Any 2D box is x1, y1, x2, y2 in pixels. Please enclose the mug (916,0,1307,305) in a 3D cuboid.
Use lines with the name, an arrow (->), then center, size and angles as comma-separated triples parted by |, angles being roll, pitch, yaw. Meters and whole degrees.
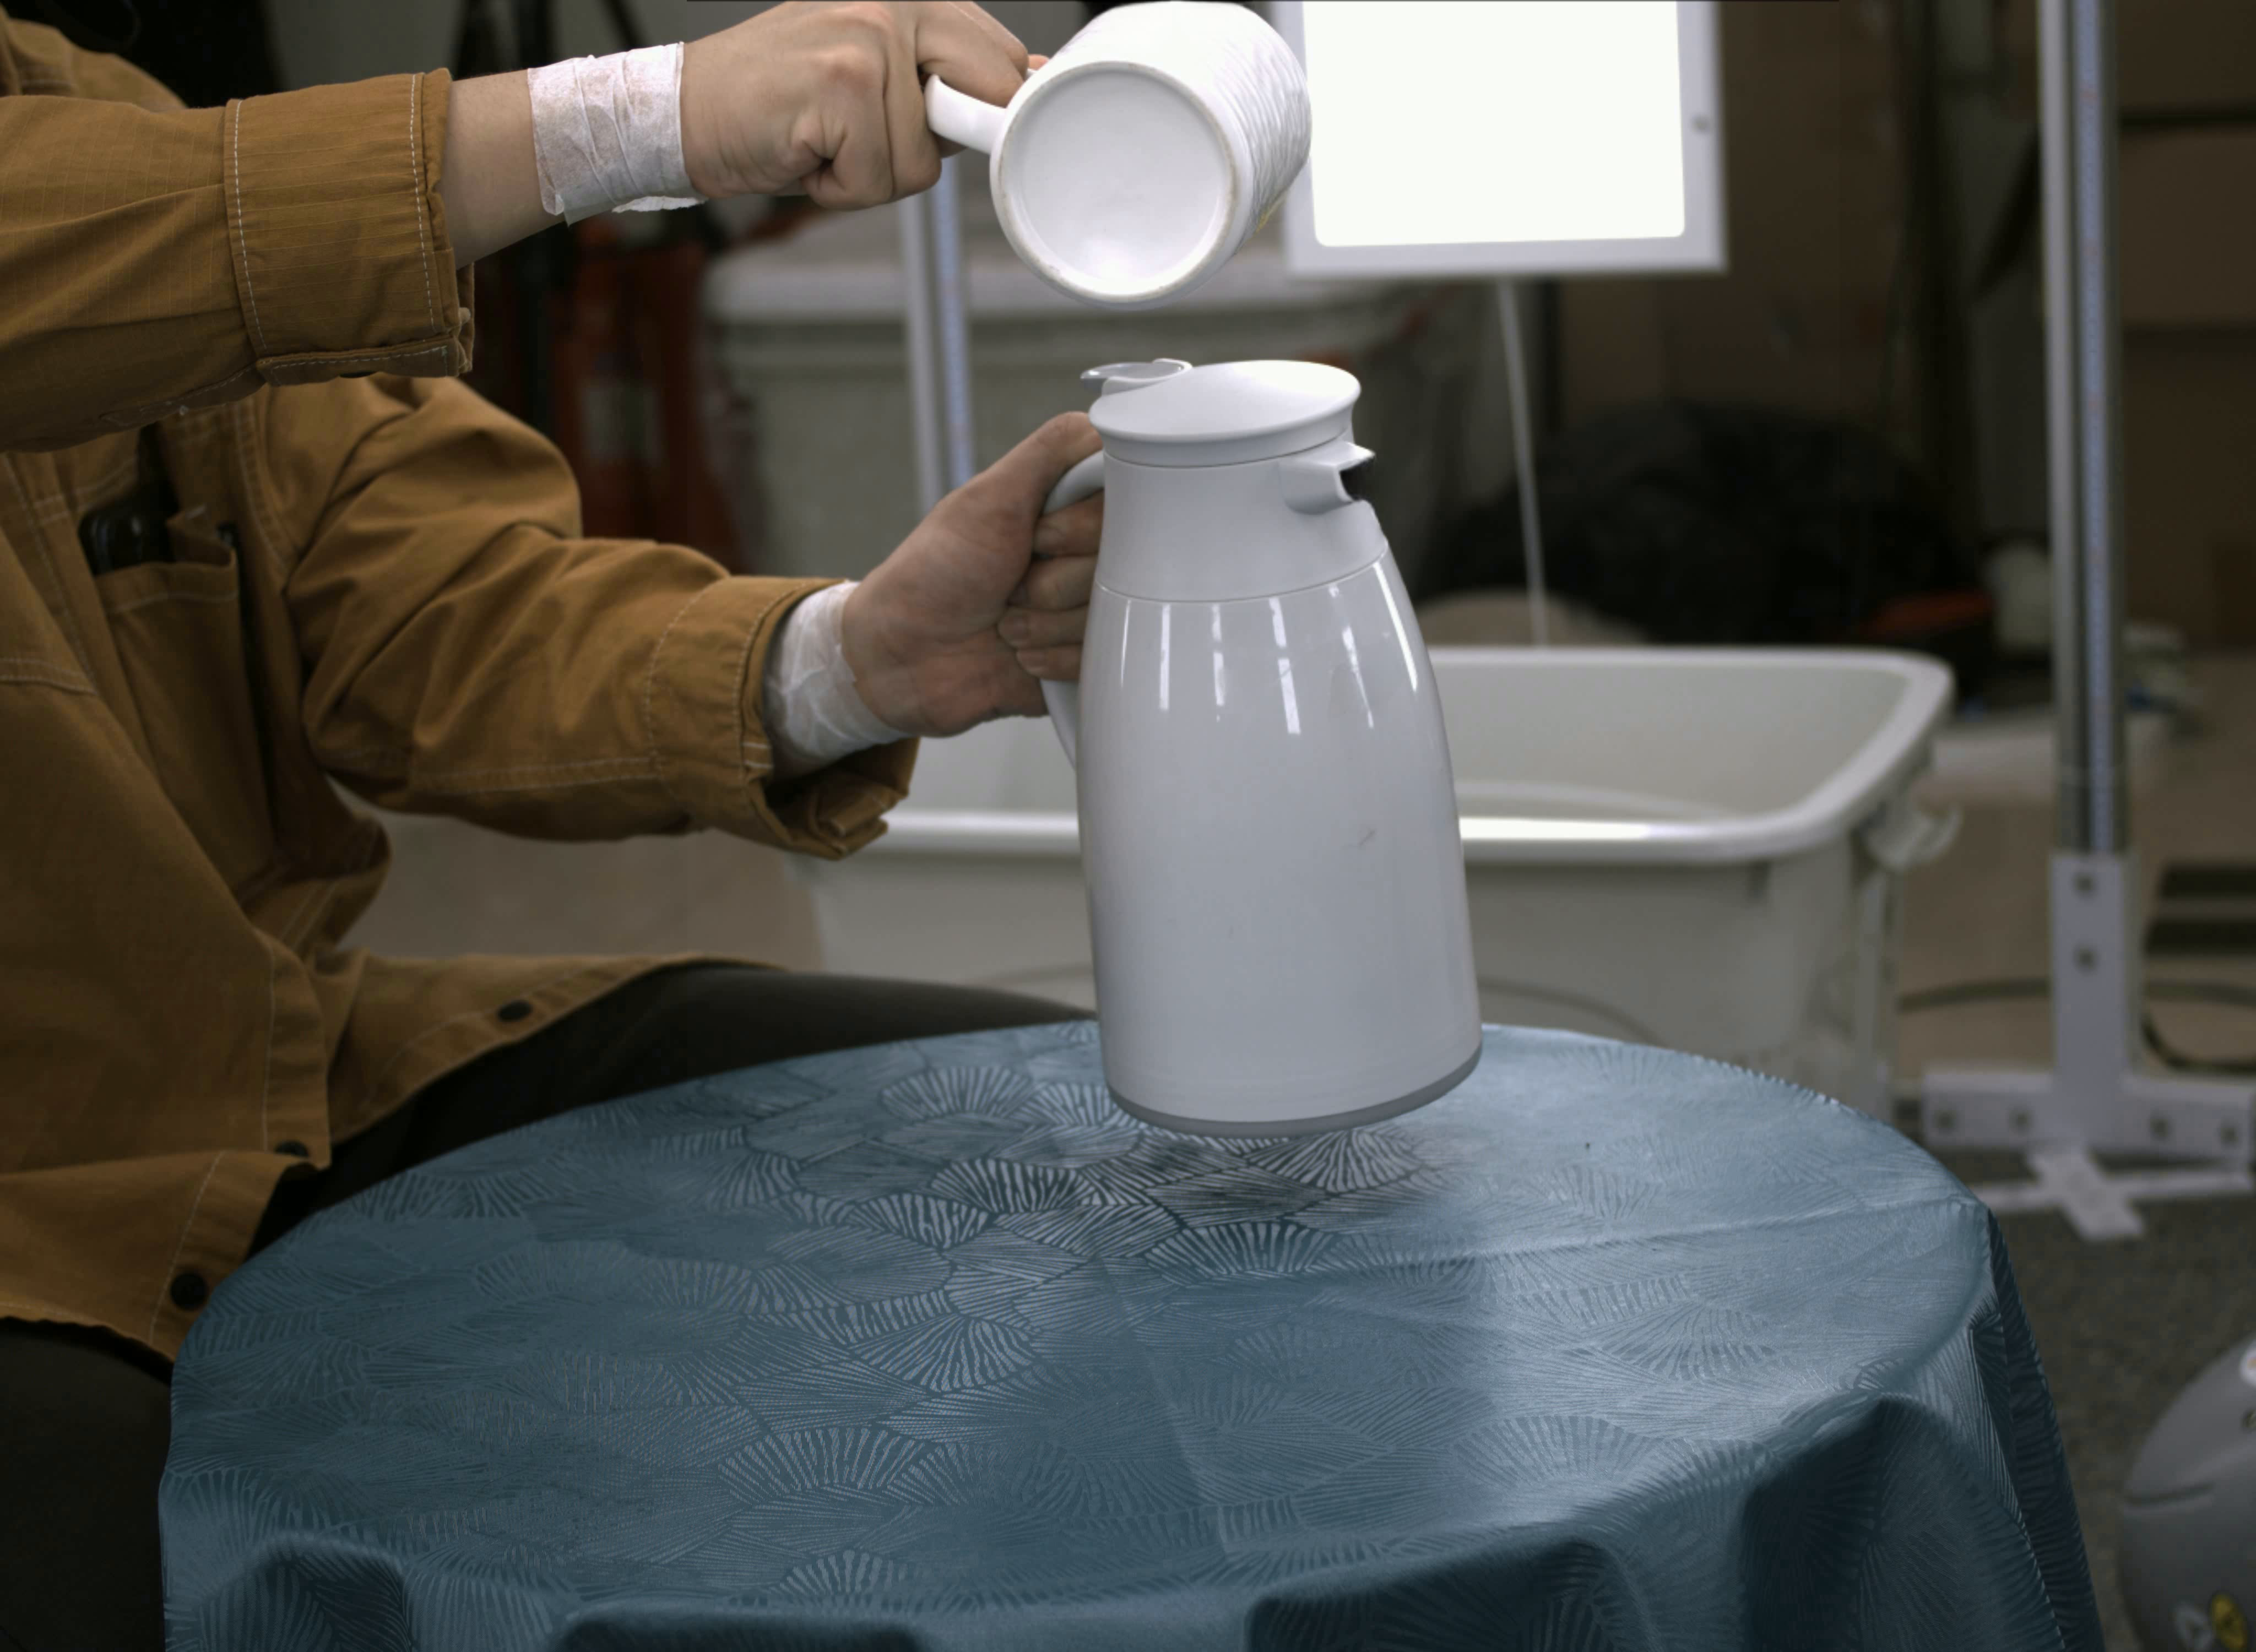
mug -> -0.009, -0.219, 1.728 | 0.119, 0.086, 0.100 | 16, 21, 8

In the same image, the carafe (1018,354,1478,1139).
carafe -> 0.029, -0.036, 1.875 | 0.129, 0.249, 0.171 | -23, 24, -38
